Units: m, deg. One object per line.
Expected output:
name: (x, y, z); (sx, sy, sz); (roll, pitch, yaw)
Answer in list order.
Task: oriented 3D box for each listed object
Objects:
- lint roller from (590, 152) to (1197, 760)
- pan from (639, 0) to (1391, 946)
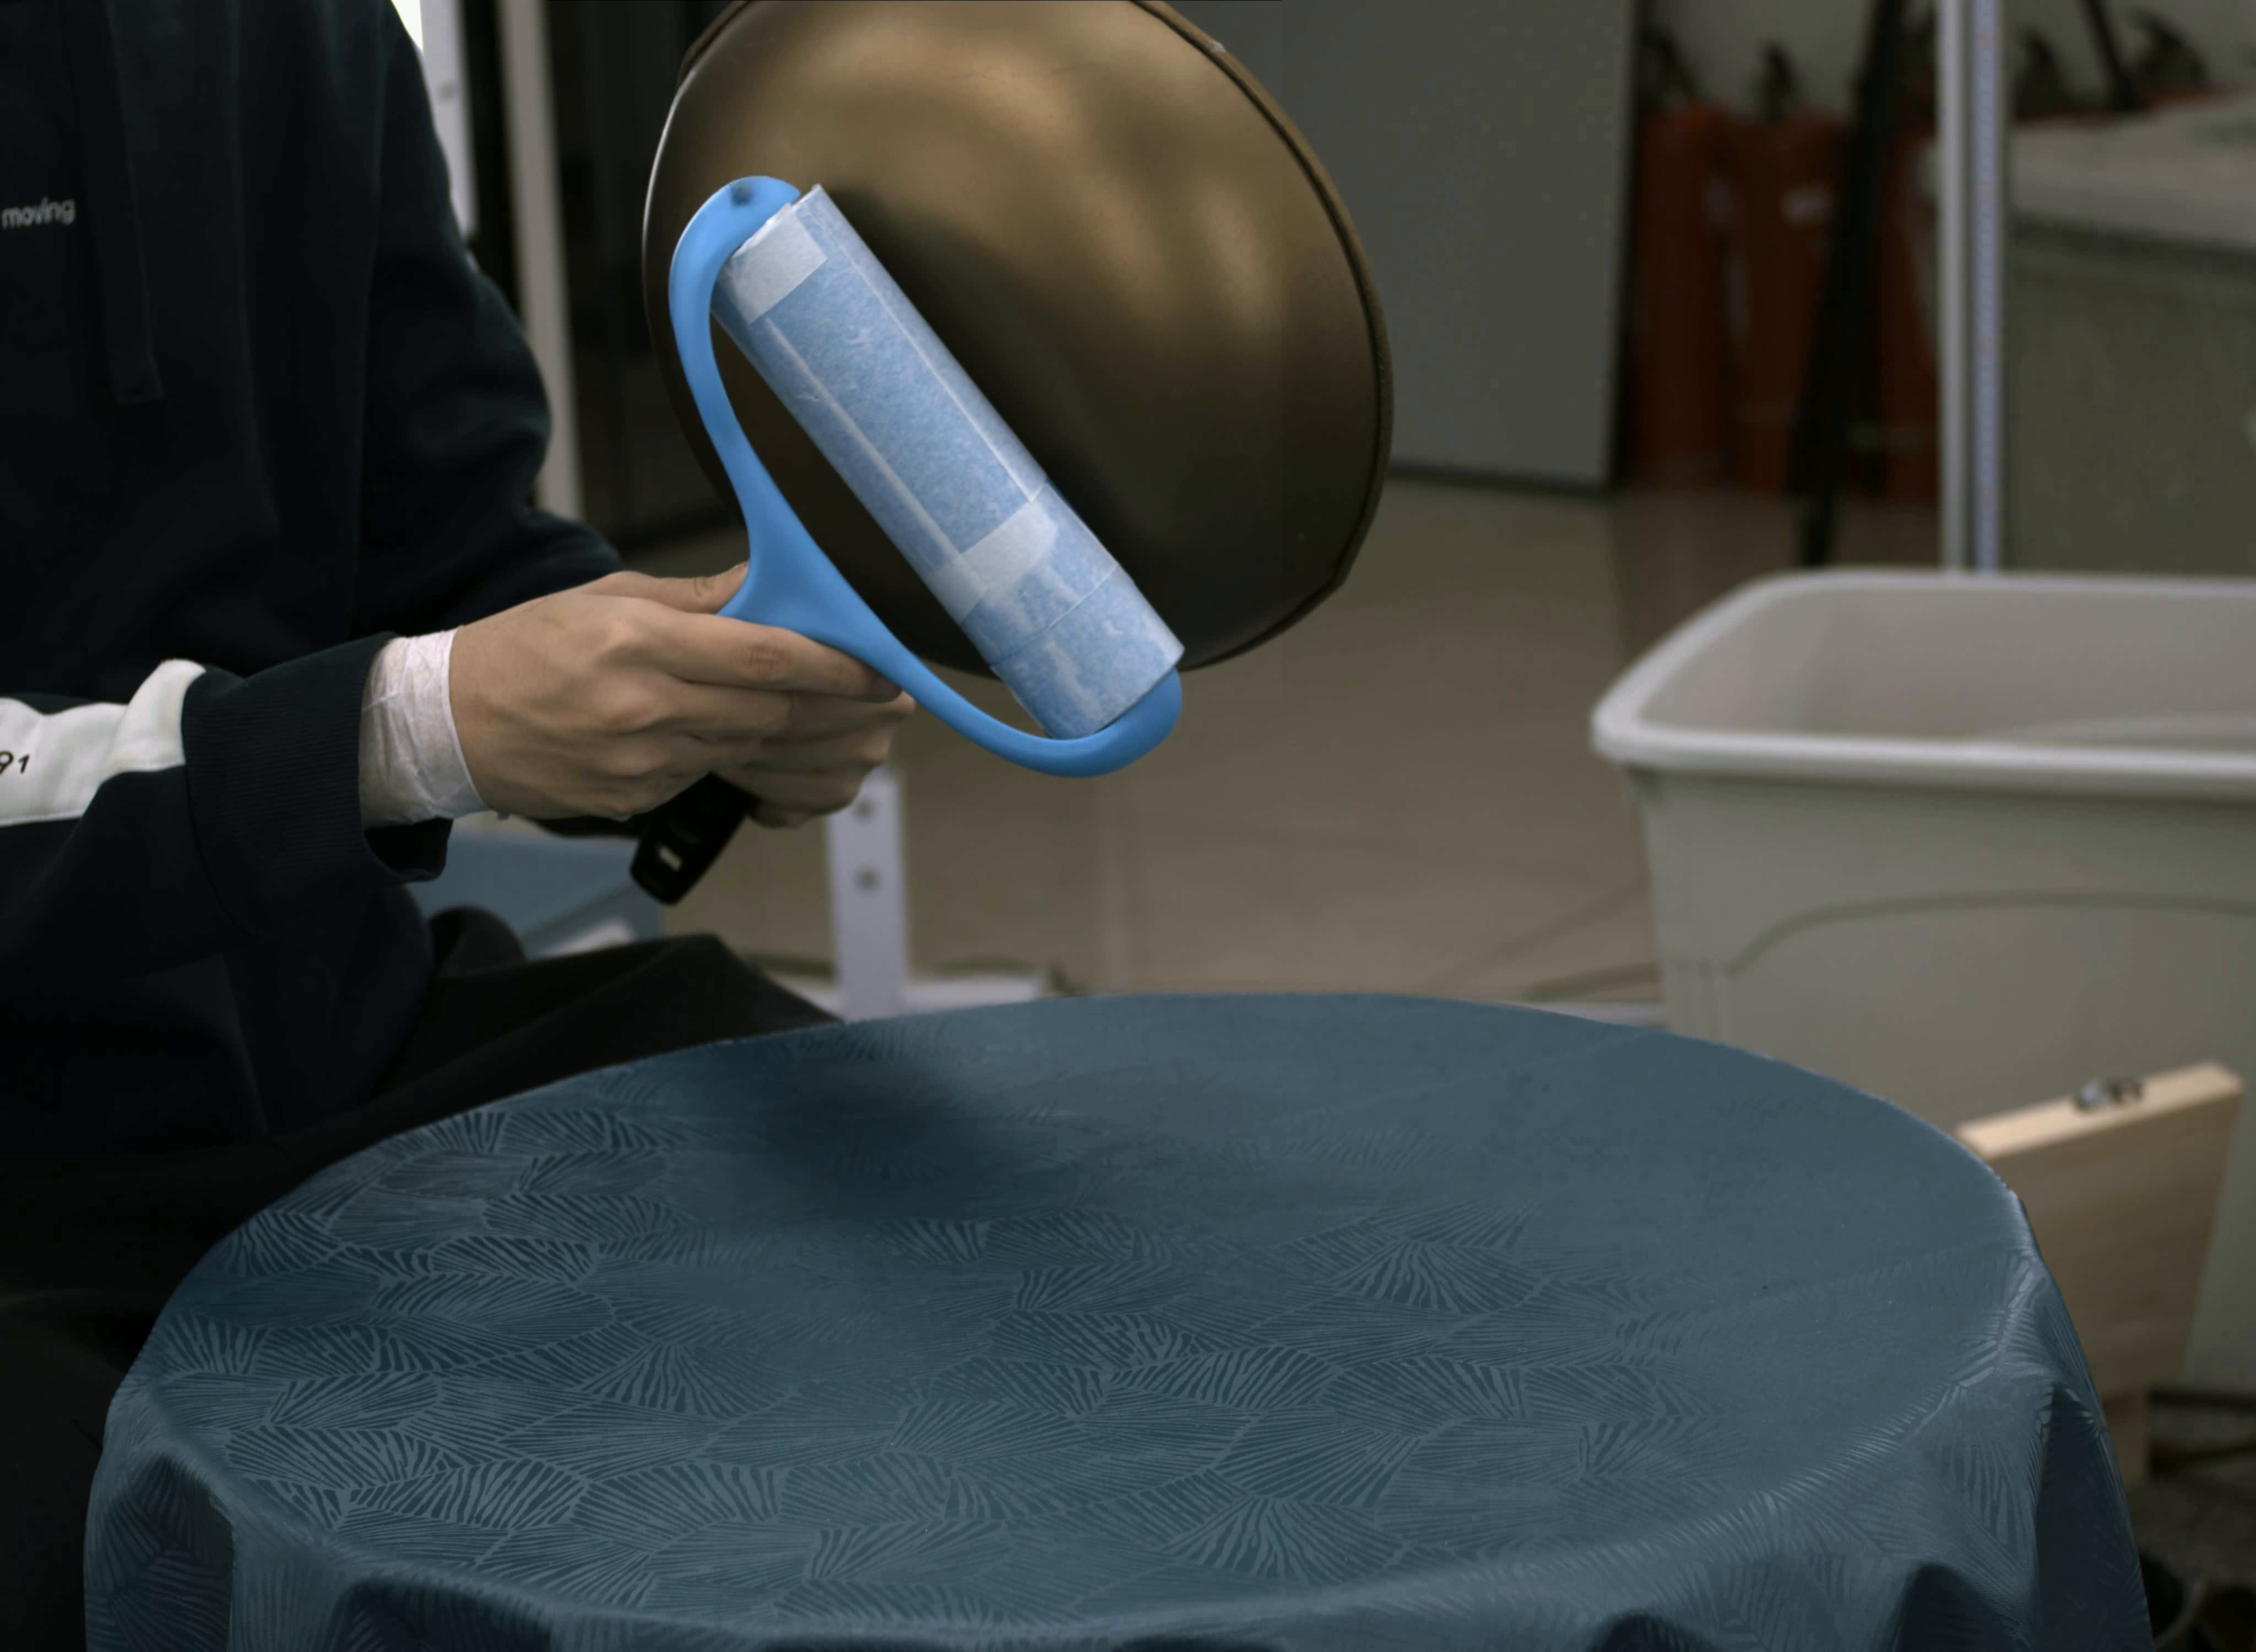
lint roller: (-0.102, -0.080, 1.739); (0.180, 0.228, 0.068); (-42, 6, 5)
pan: (-0.093, -0.101, 1.858); (0.288, 0.468, 0.086); (38, 40, 6)
